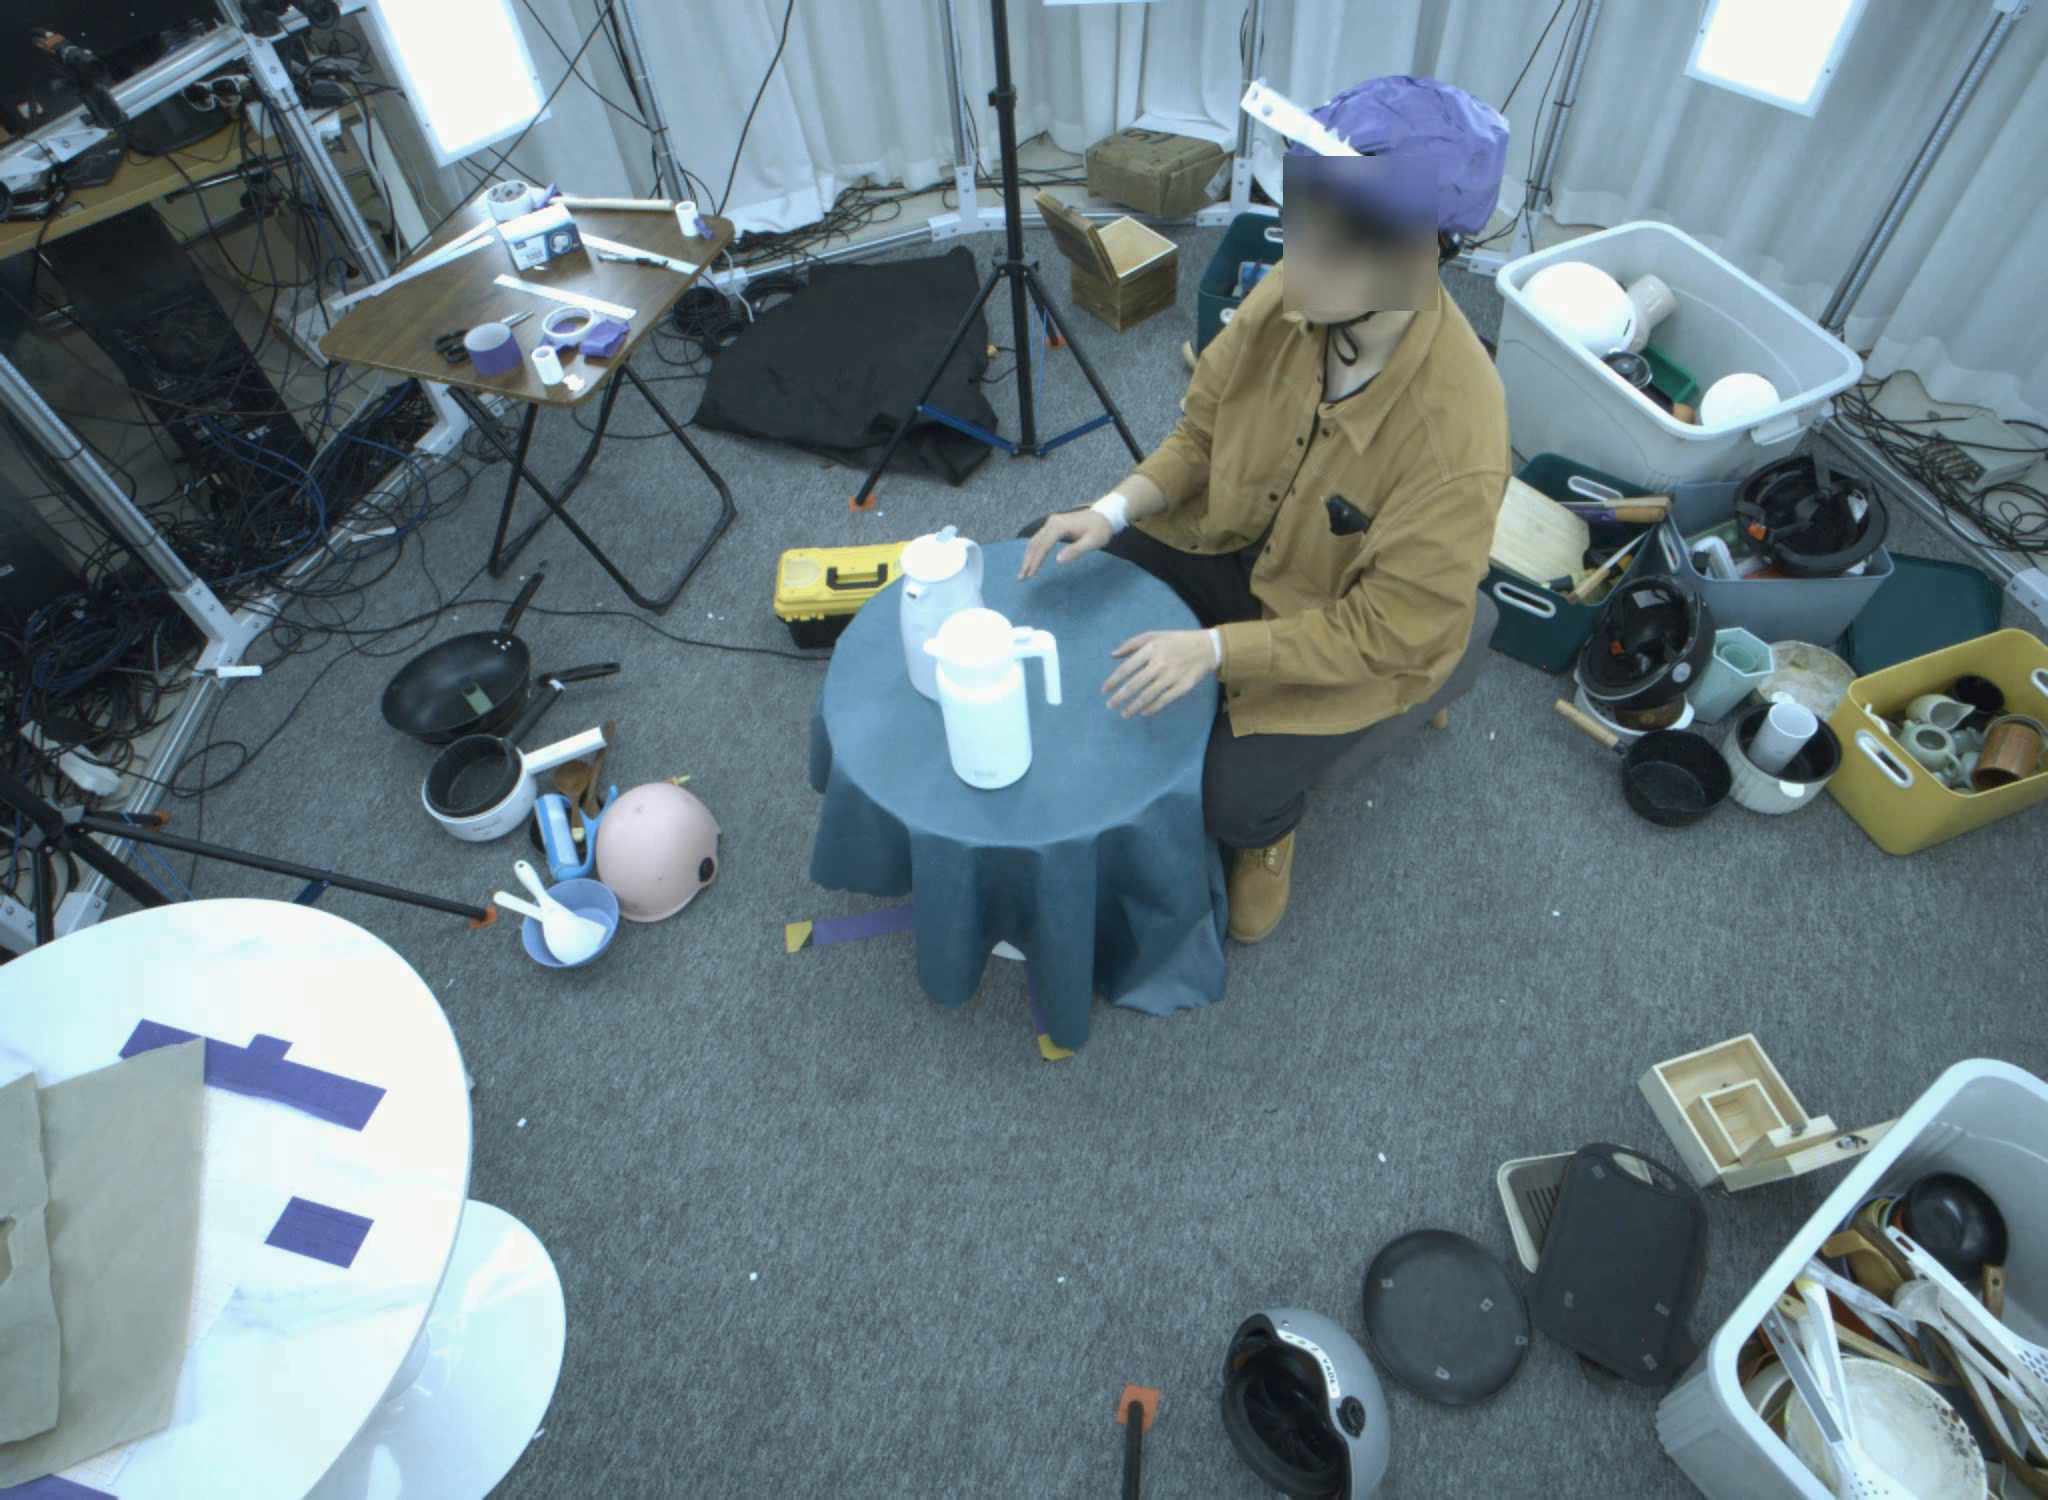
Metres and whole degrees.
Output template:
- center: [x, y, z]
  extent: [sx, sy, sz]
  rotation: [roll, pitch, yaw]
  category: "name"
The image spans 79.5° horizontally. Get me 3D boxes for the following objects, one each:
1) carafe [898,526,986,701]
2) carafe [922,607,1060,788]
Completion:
- center: [-0.112, -0.212, 1.783]
  extent: [0.131, 0.251, 0.168]
  rotation: [22, 57, 18]
  category: "carafe"
- center: [-0.038, -0.070, 1.669]
  extent: [0.173, 0.272, 0.122]
  rotation: [-7, 52, -2]
  category: "carafe"
